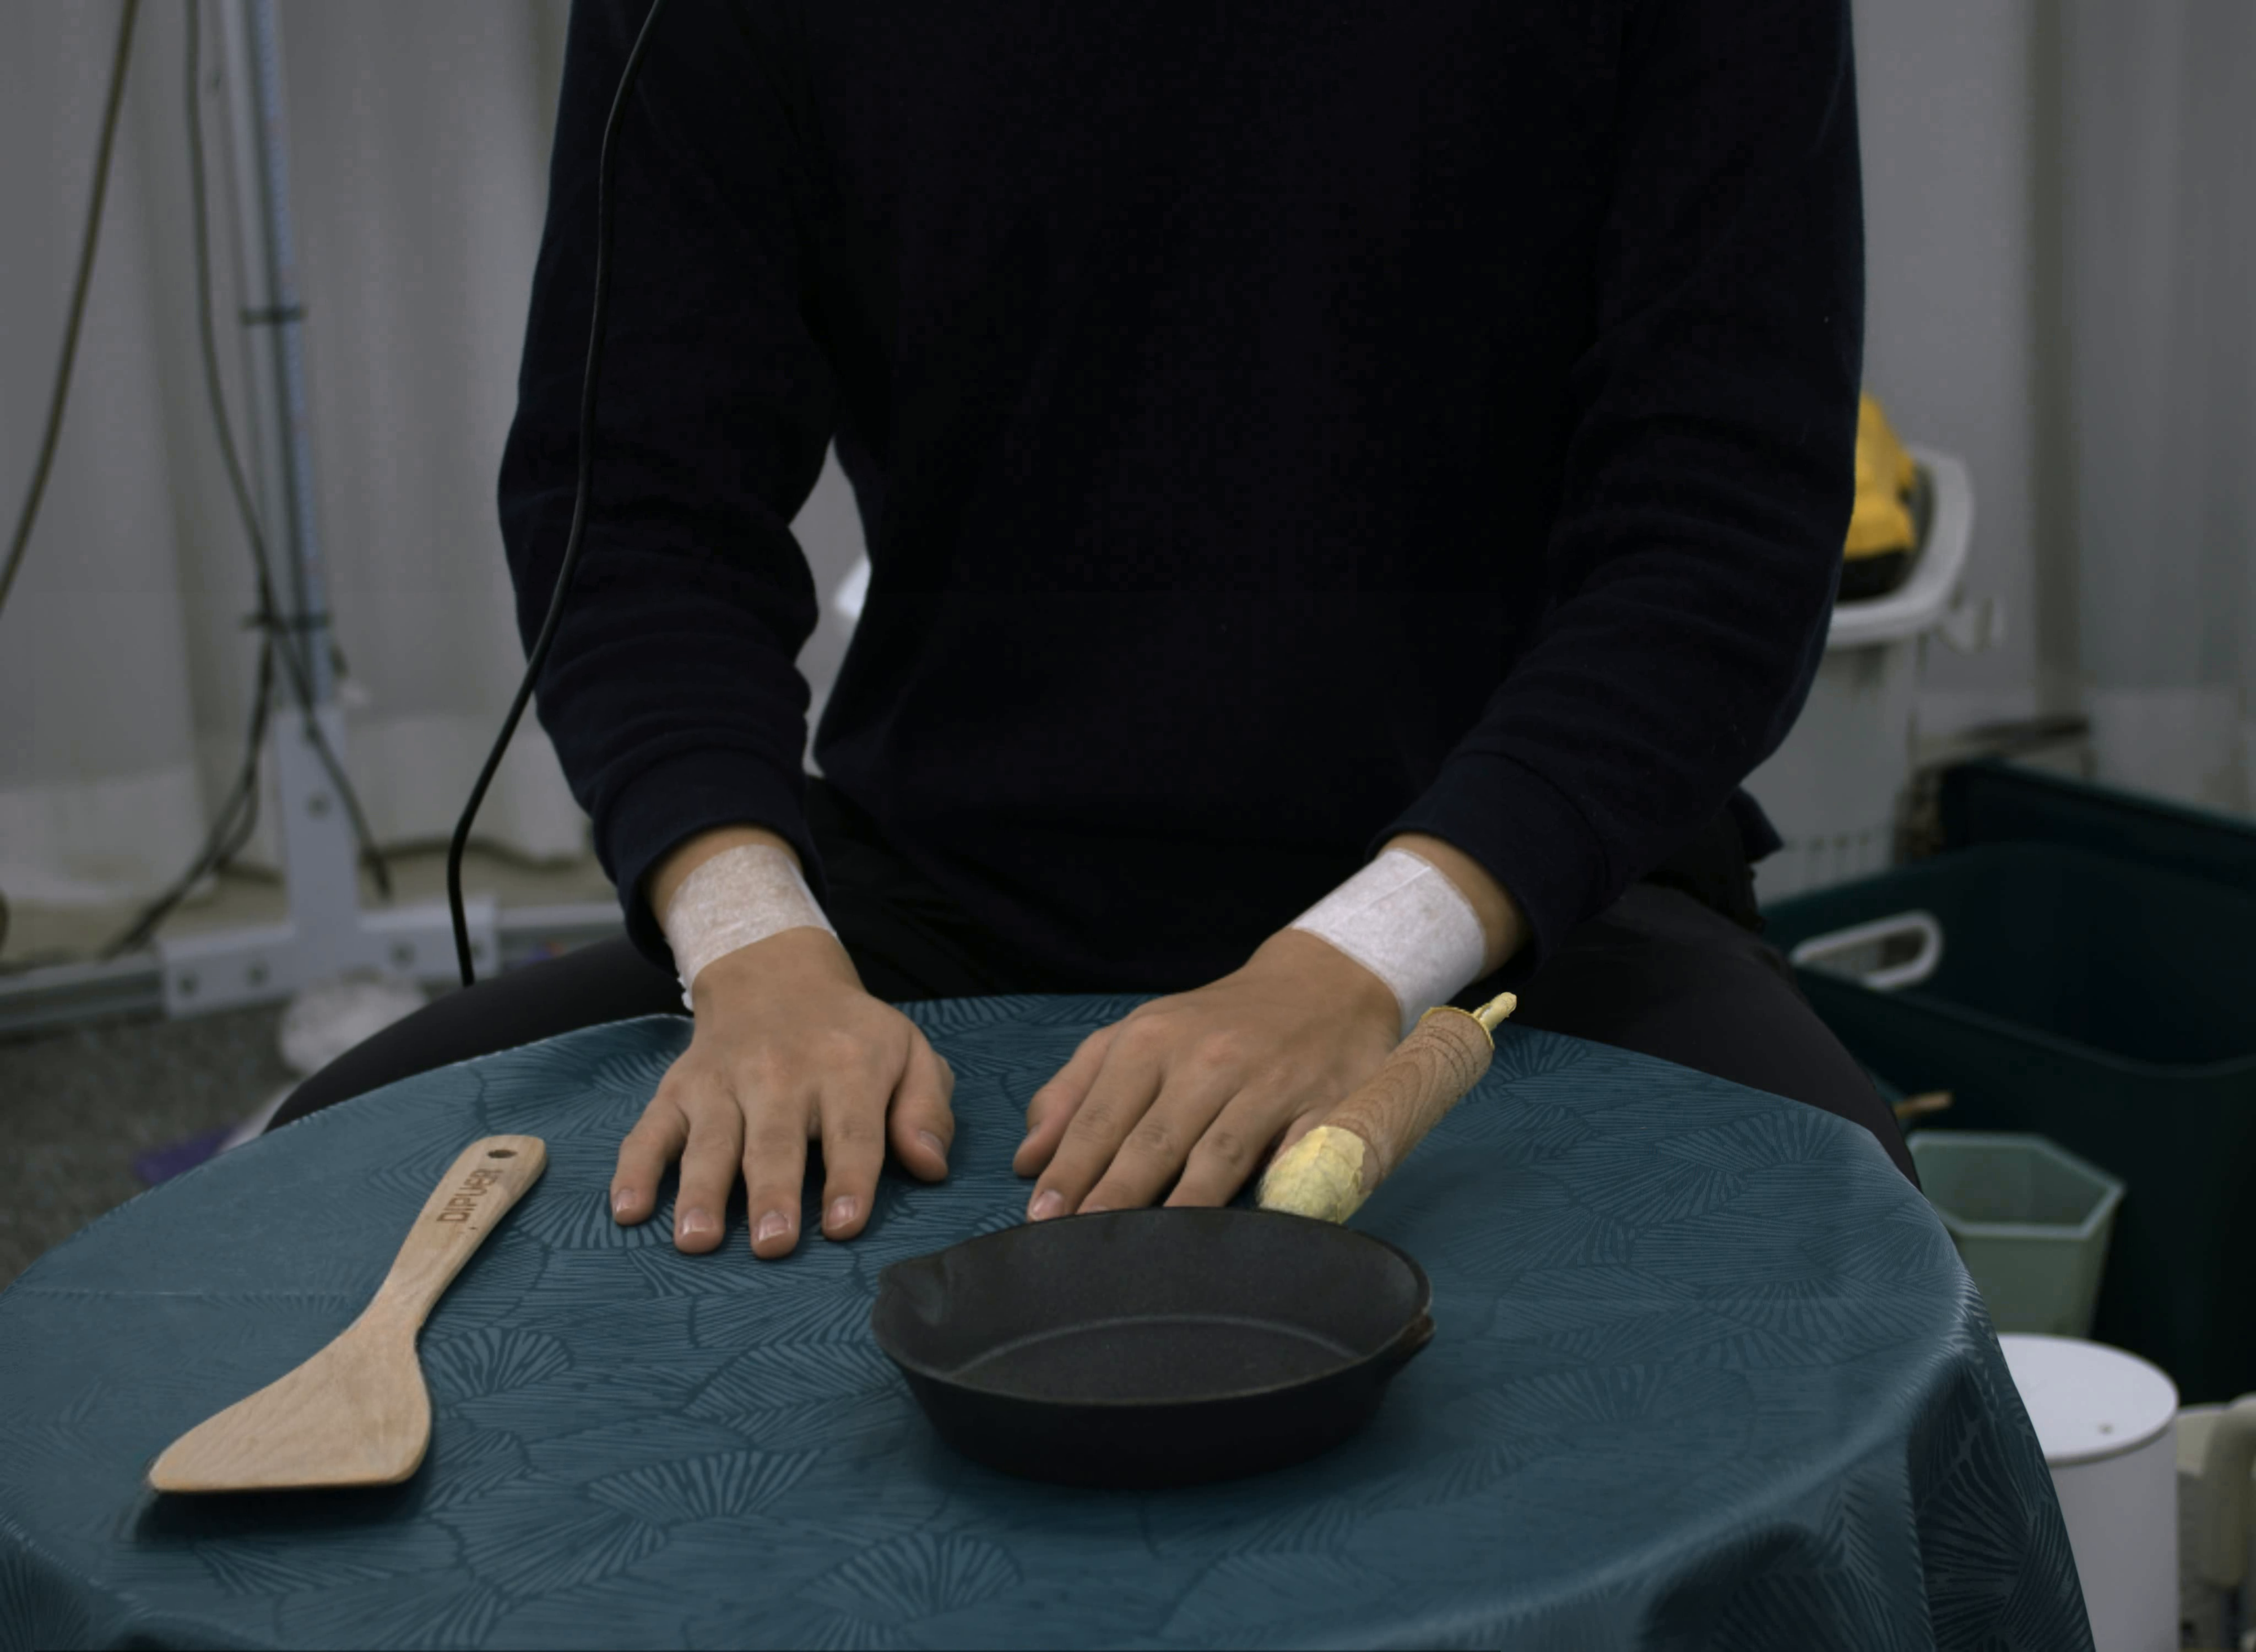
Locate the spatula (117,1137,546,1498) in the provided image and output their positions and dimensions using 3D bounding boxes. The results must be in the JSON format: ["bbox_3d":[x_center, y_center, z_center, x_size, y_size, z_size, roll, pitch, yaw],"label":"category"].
[{"bbox_3d":[-0.217,0.143,1.623,0.080,0.016,0.329,0,15,7],"label":"spatula"}]

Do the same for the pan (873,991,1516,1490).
[{"bbox_3d":[0.046,0.118,1.599,0.169,0.049,0.325,5,18,28],"label":"pan"}]
